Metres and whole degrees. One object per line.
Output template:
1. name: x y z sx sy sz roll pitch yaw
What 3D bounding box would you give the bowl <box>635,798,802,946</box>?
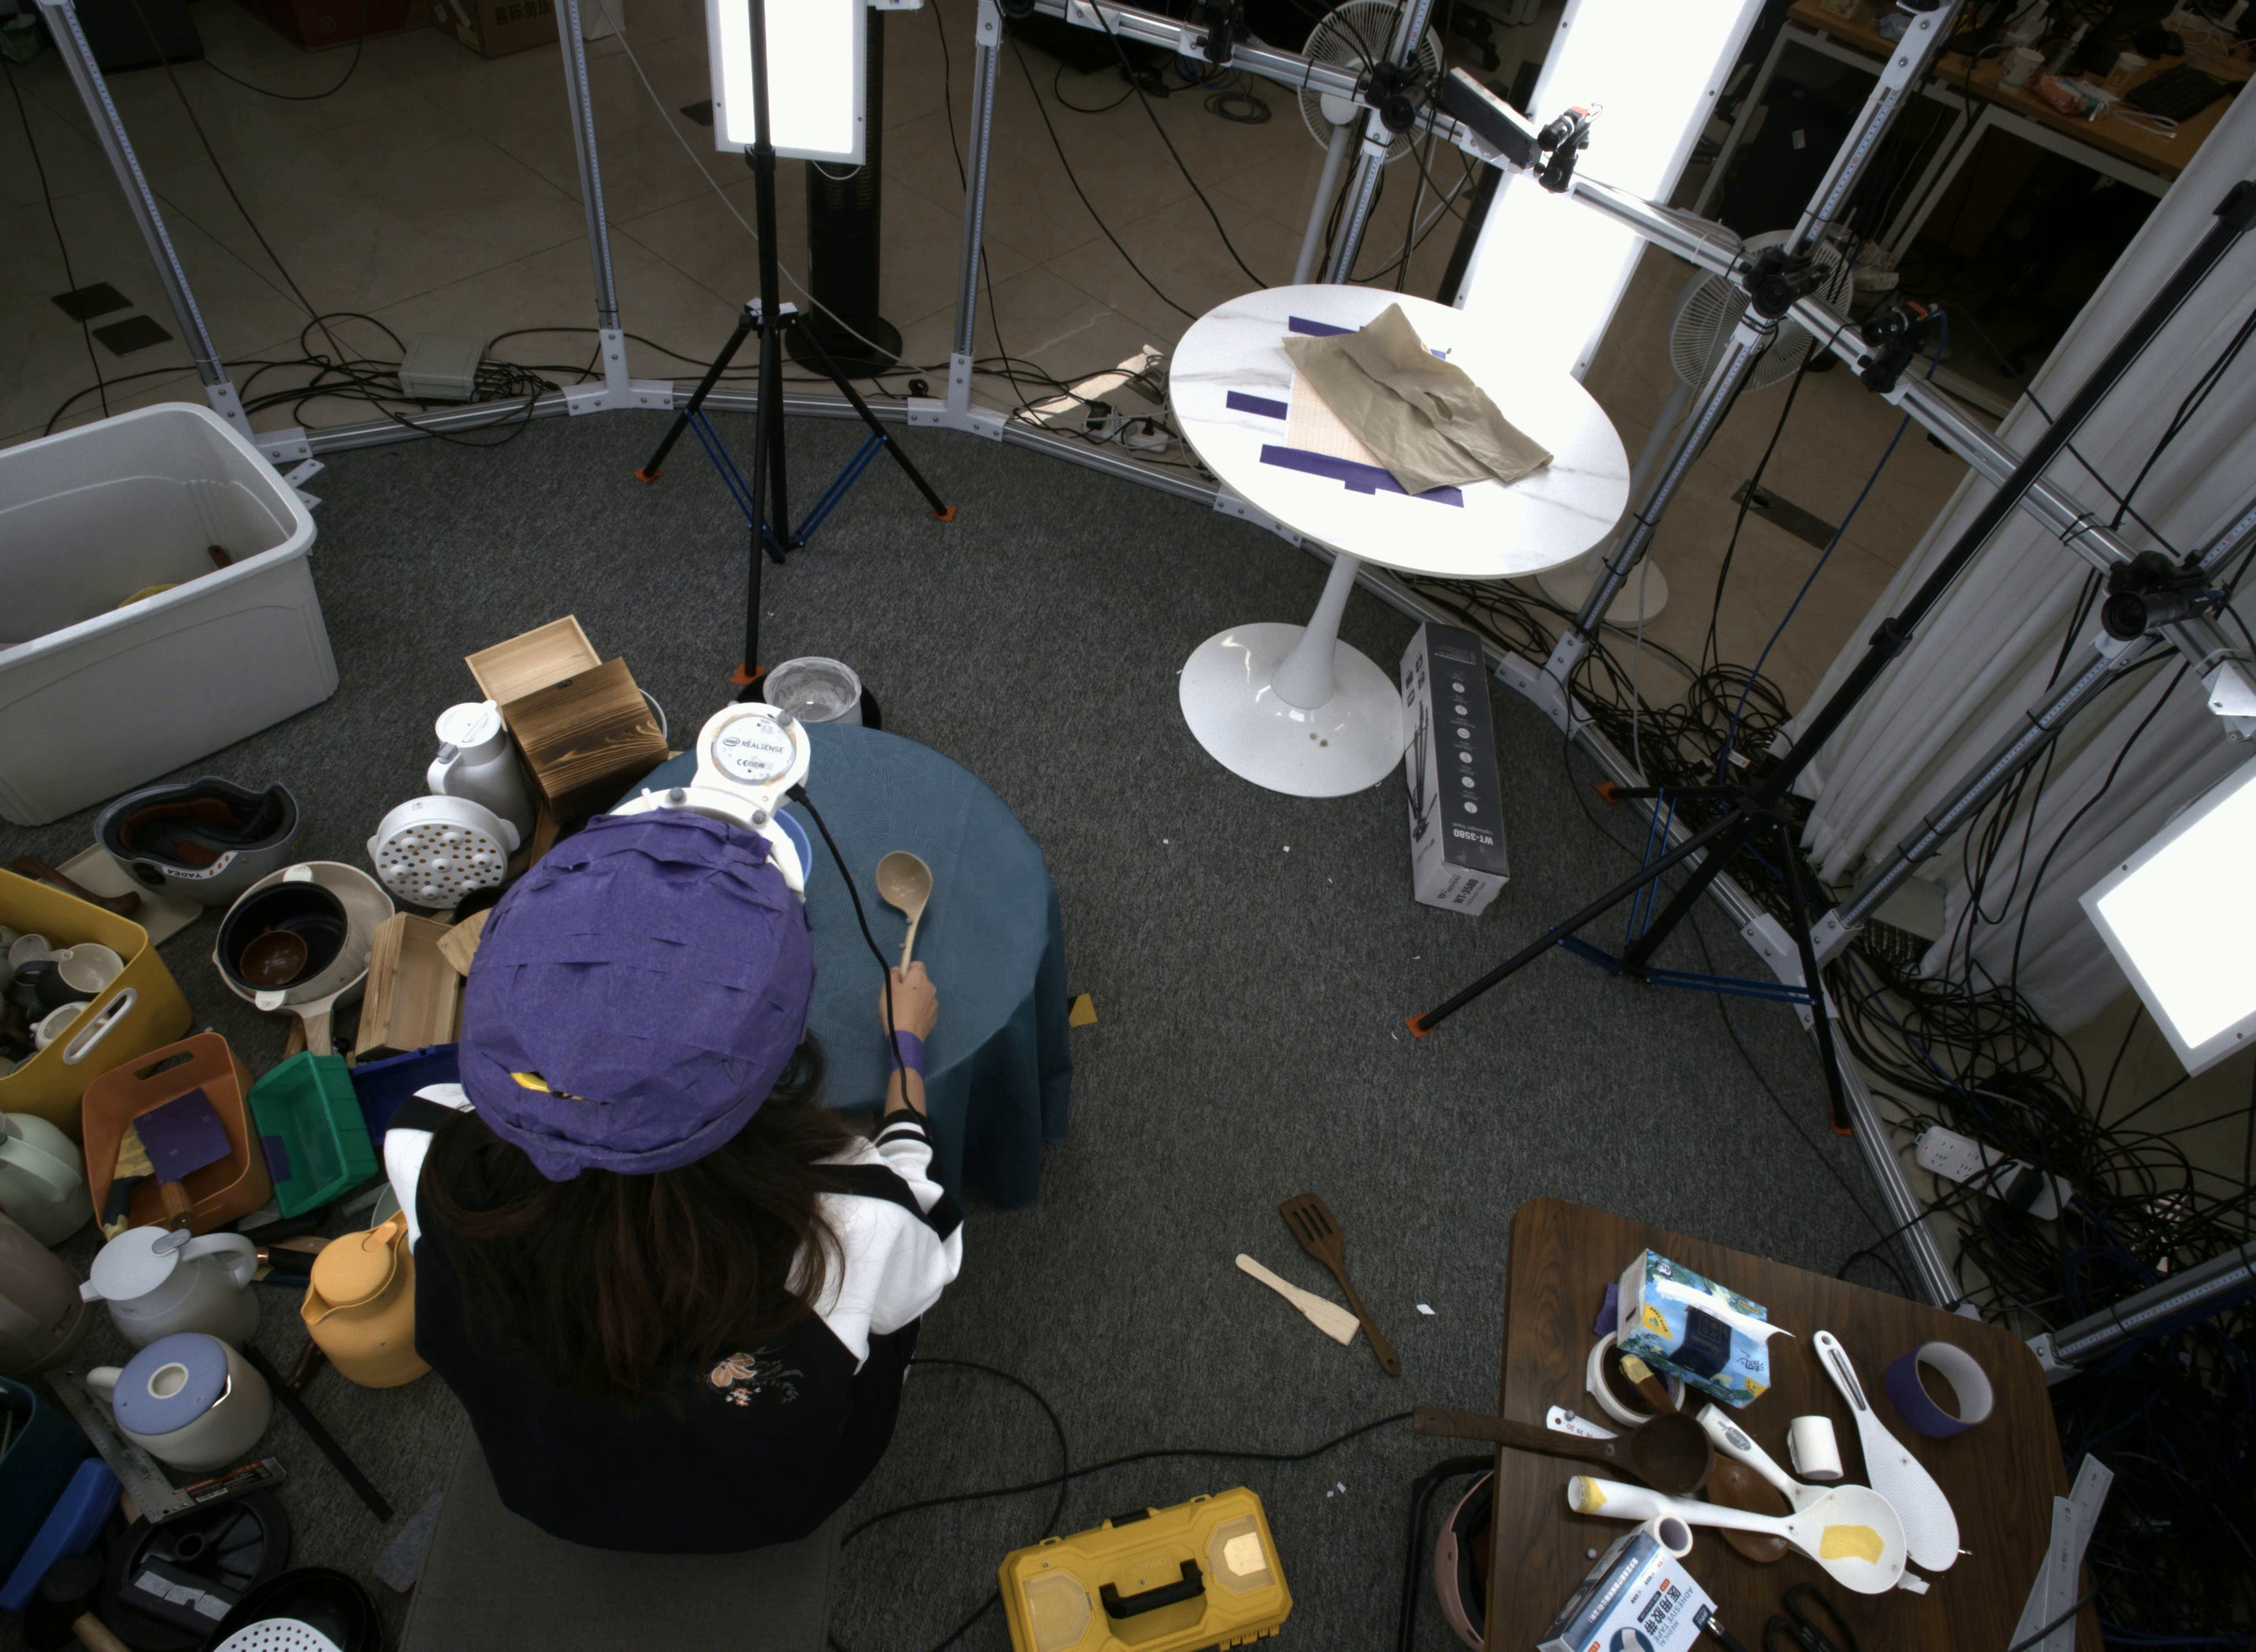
1. bowl: -0.500 0.070 1.588 0.196 0.097 0.193 8 51 -9

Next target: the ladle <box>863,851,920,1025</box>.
1. ladle: -0.292 0.126 1.574 0.071 0.075 0.248 -25 36 12
